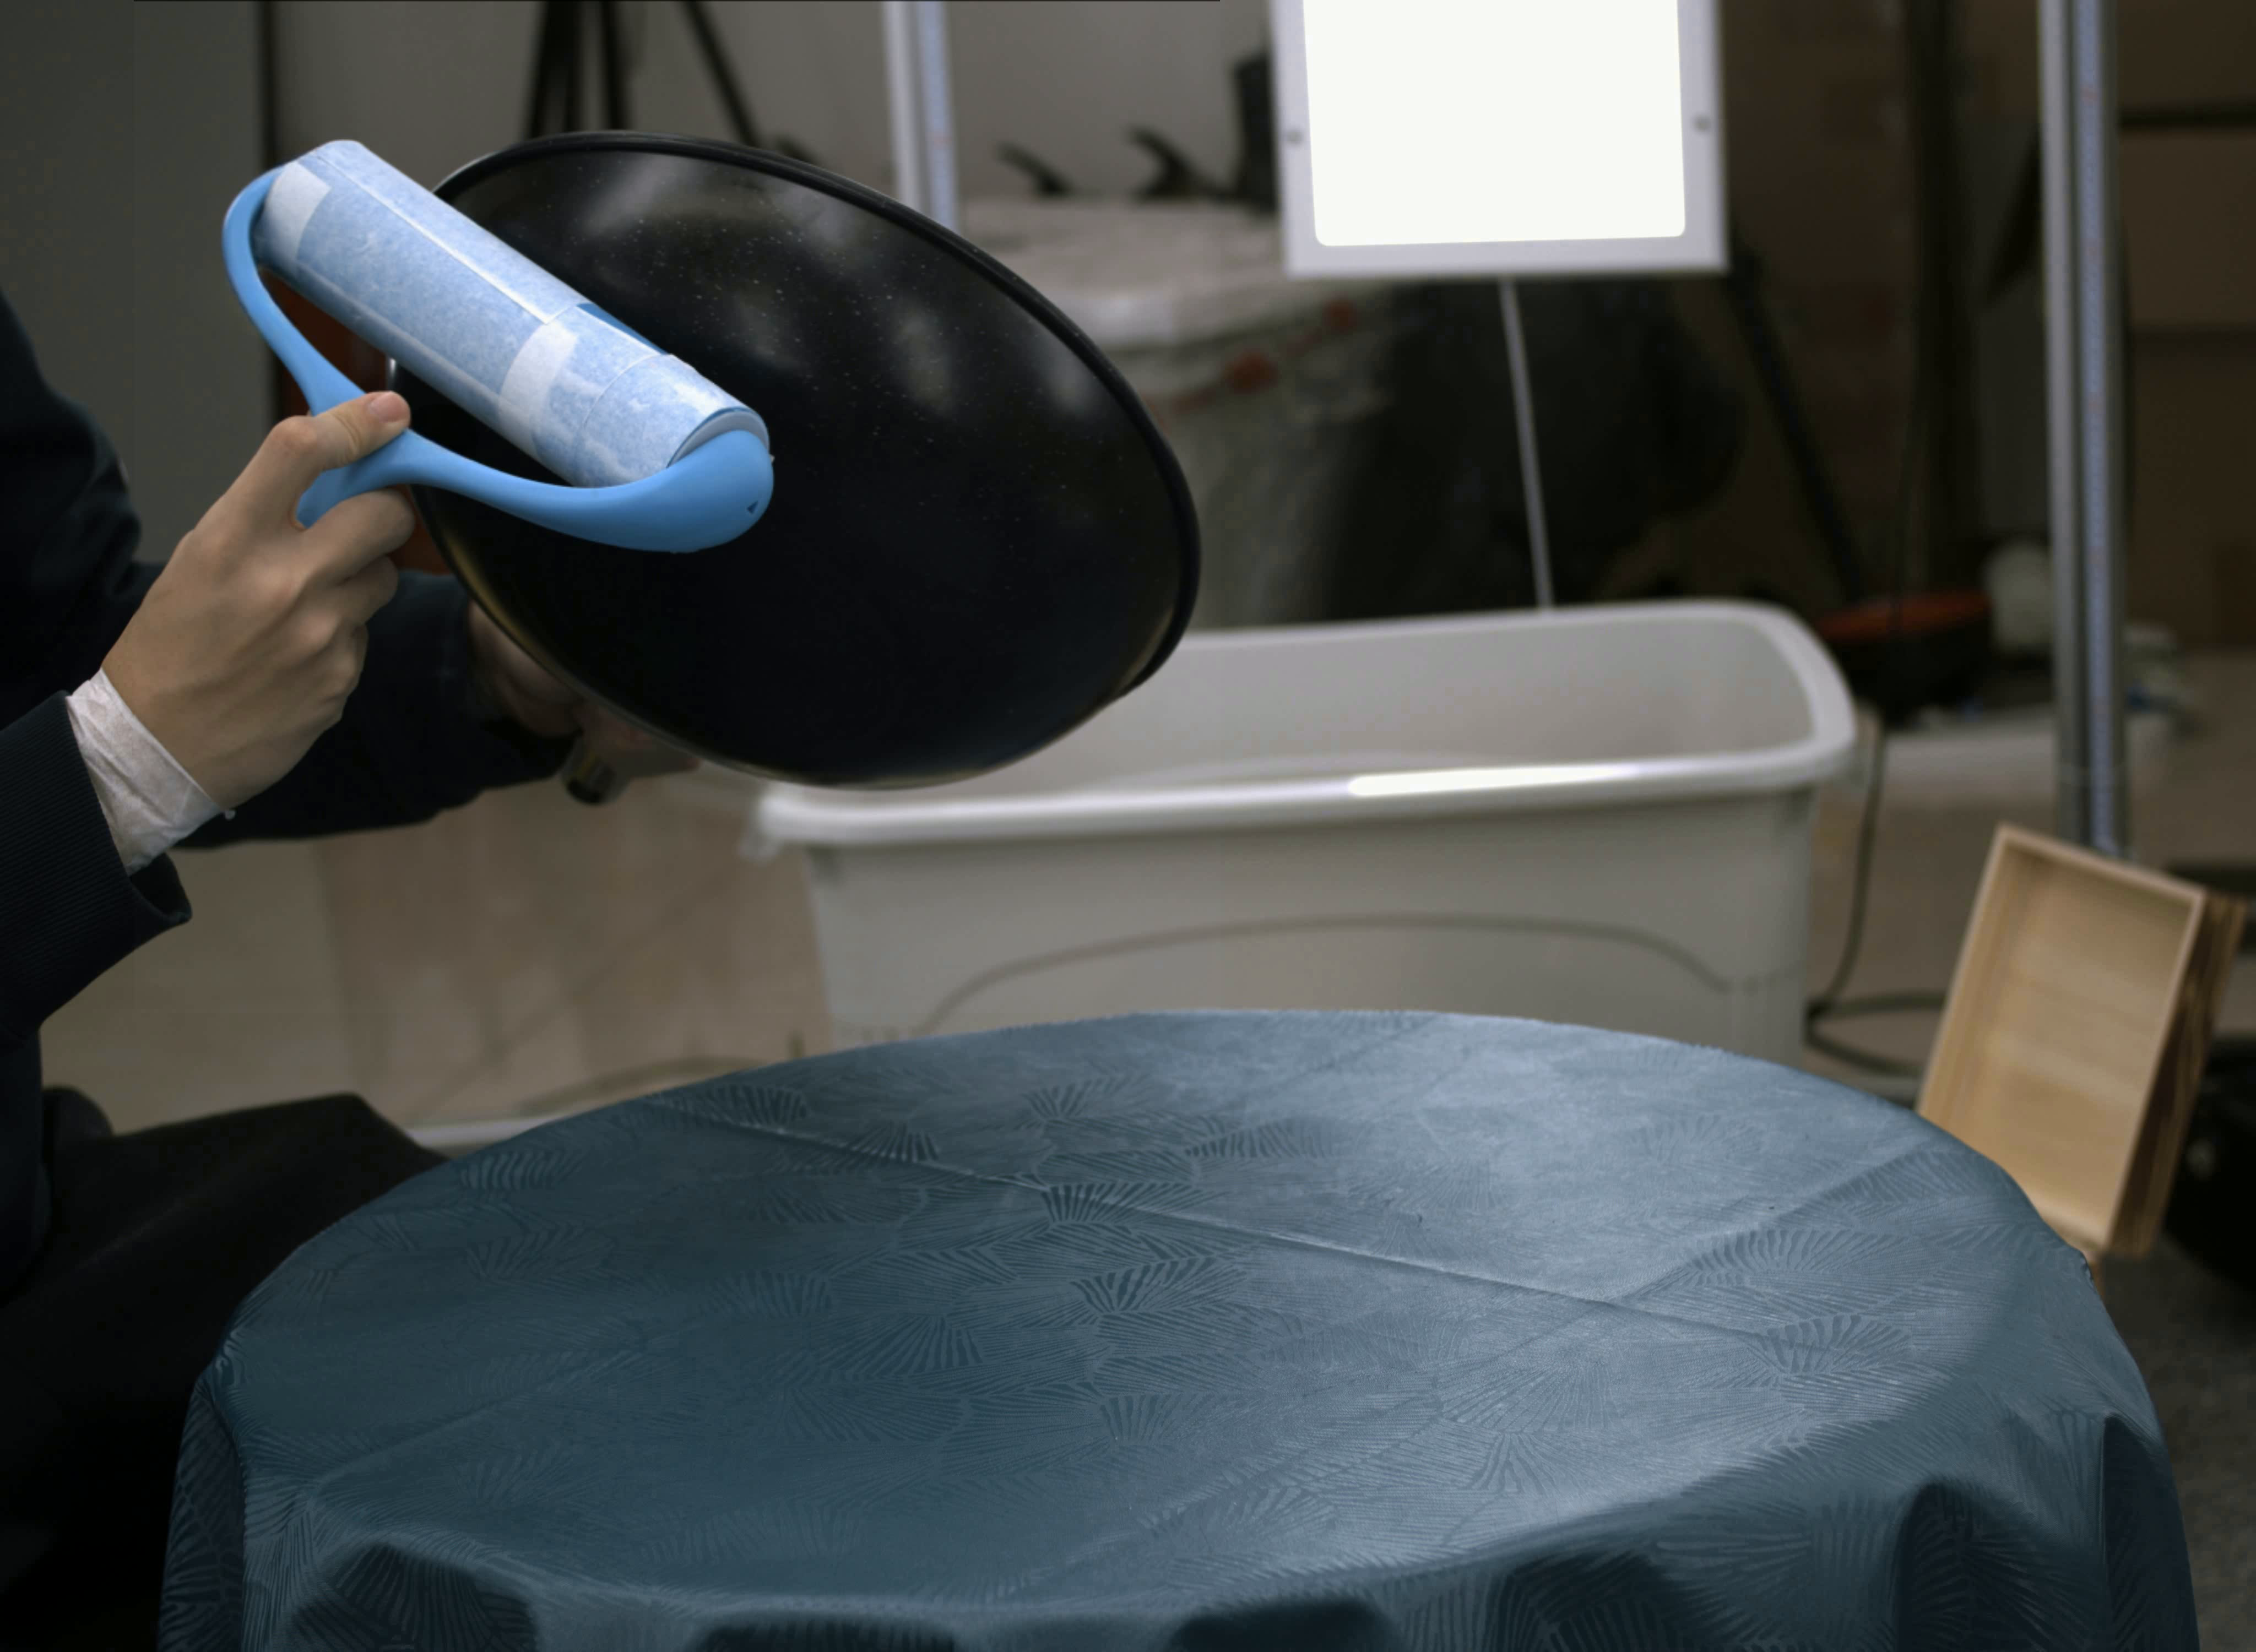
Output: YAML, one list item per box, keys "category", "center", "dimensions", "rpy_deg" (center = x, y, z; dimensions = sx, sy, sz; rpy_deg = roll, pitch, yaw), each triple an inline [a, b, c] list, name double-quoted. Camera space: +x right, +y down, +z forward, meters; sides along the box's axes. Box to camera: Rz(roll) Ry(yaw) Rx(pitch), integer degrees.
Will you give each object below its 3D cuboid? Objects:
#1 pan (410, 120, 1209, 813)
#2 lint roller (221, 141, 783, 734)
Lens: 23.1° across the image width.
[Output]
- category: "pan"
  center: [-0.154, -0.077, 1.990]
  dimensions: [0.309, 0.485, 0.110]
  rpy_deg: [30, 58, -5]
- category: "lint roller"
  center: [-0.236, -0.113, 1.806]
  dimensions: [0.232, 0.179, 0.067]
  rpy_deg: [31, -9, 27]
